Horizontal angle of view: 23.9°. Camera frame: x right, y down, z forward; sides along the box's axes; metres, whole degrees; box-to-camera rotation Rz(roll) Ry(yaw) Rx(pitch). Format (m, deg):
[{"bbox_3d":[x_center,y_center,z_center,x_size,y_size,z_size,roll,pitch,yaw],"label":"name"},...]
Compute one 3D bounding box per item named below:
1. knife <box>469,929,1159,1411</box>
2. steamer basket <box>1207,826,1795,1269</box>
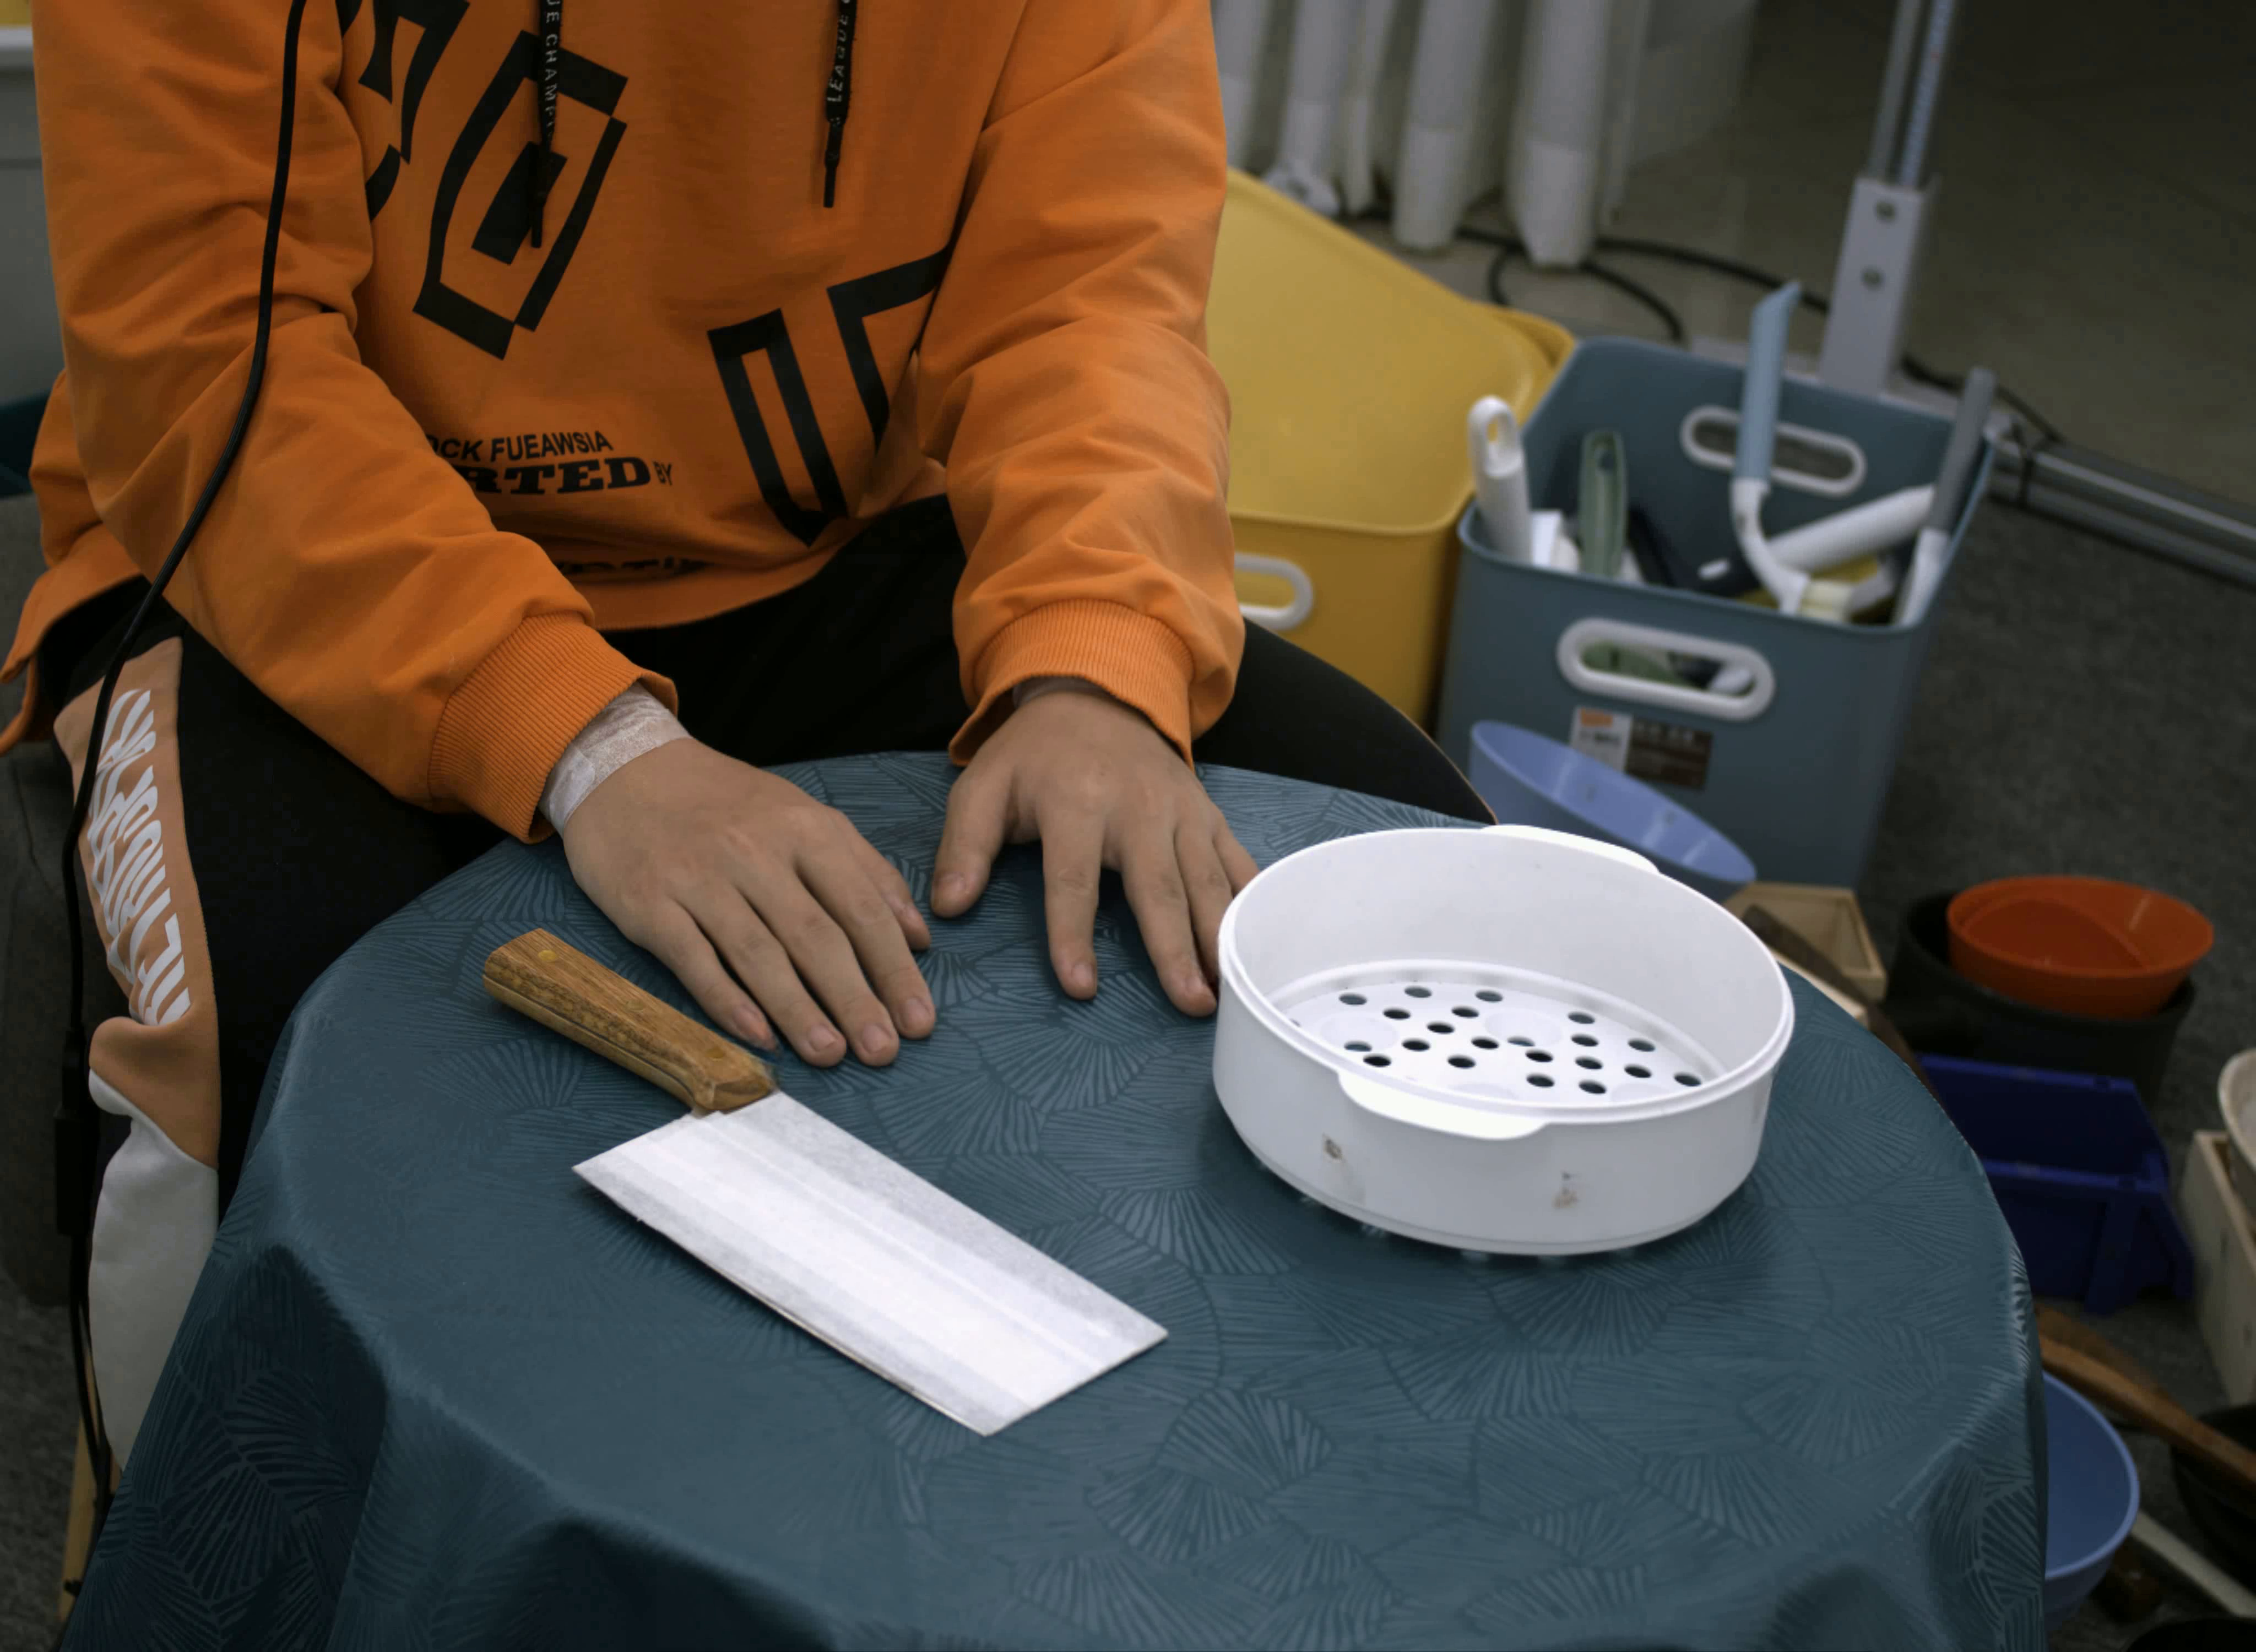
[{"bbox_3d":[-0.127,0.115,1.774,0.308,0.021,0.092,29,36,33],"label":"knife"},{"bbox_3d":[0.127,0.078,1.845,0.202,0.069,0.231,12,29,13],"label":"steamer basket"}]
